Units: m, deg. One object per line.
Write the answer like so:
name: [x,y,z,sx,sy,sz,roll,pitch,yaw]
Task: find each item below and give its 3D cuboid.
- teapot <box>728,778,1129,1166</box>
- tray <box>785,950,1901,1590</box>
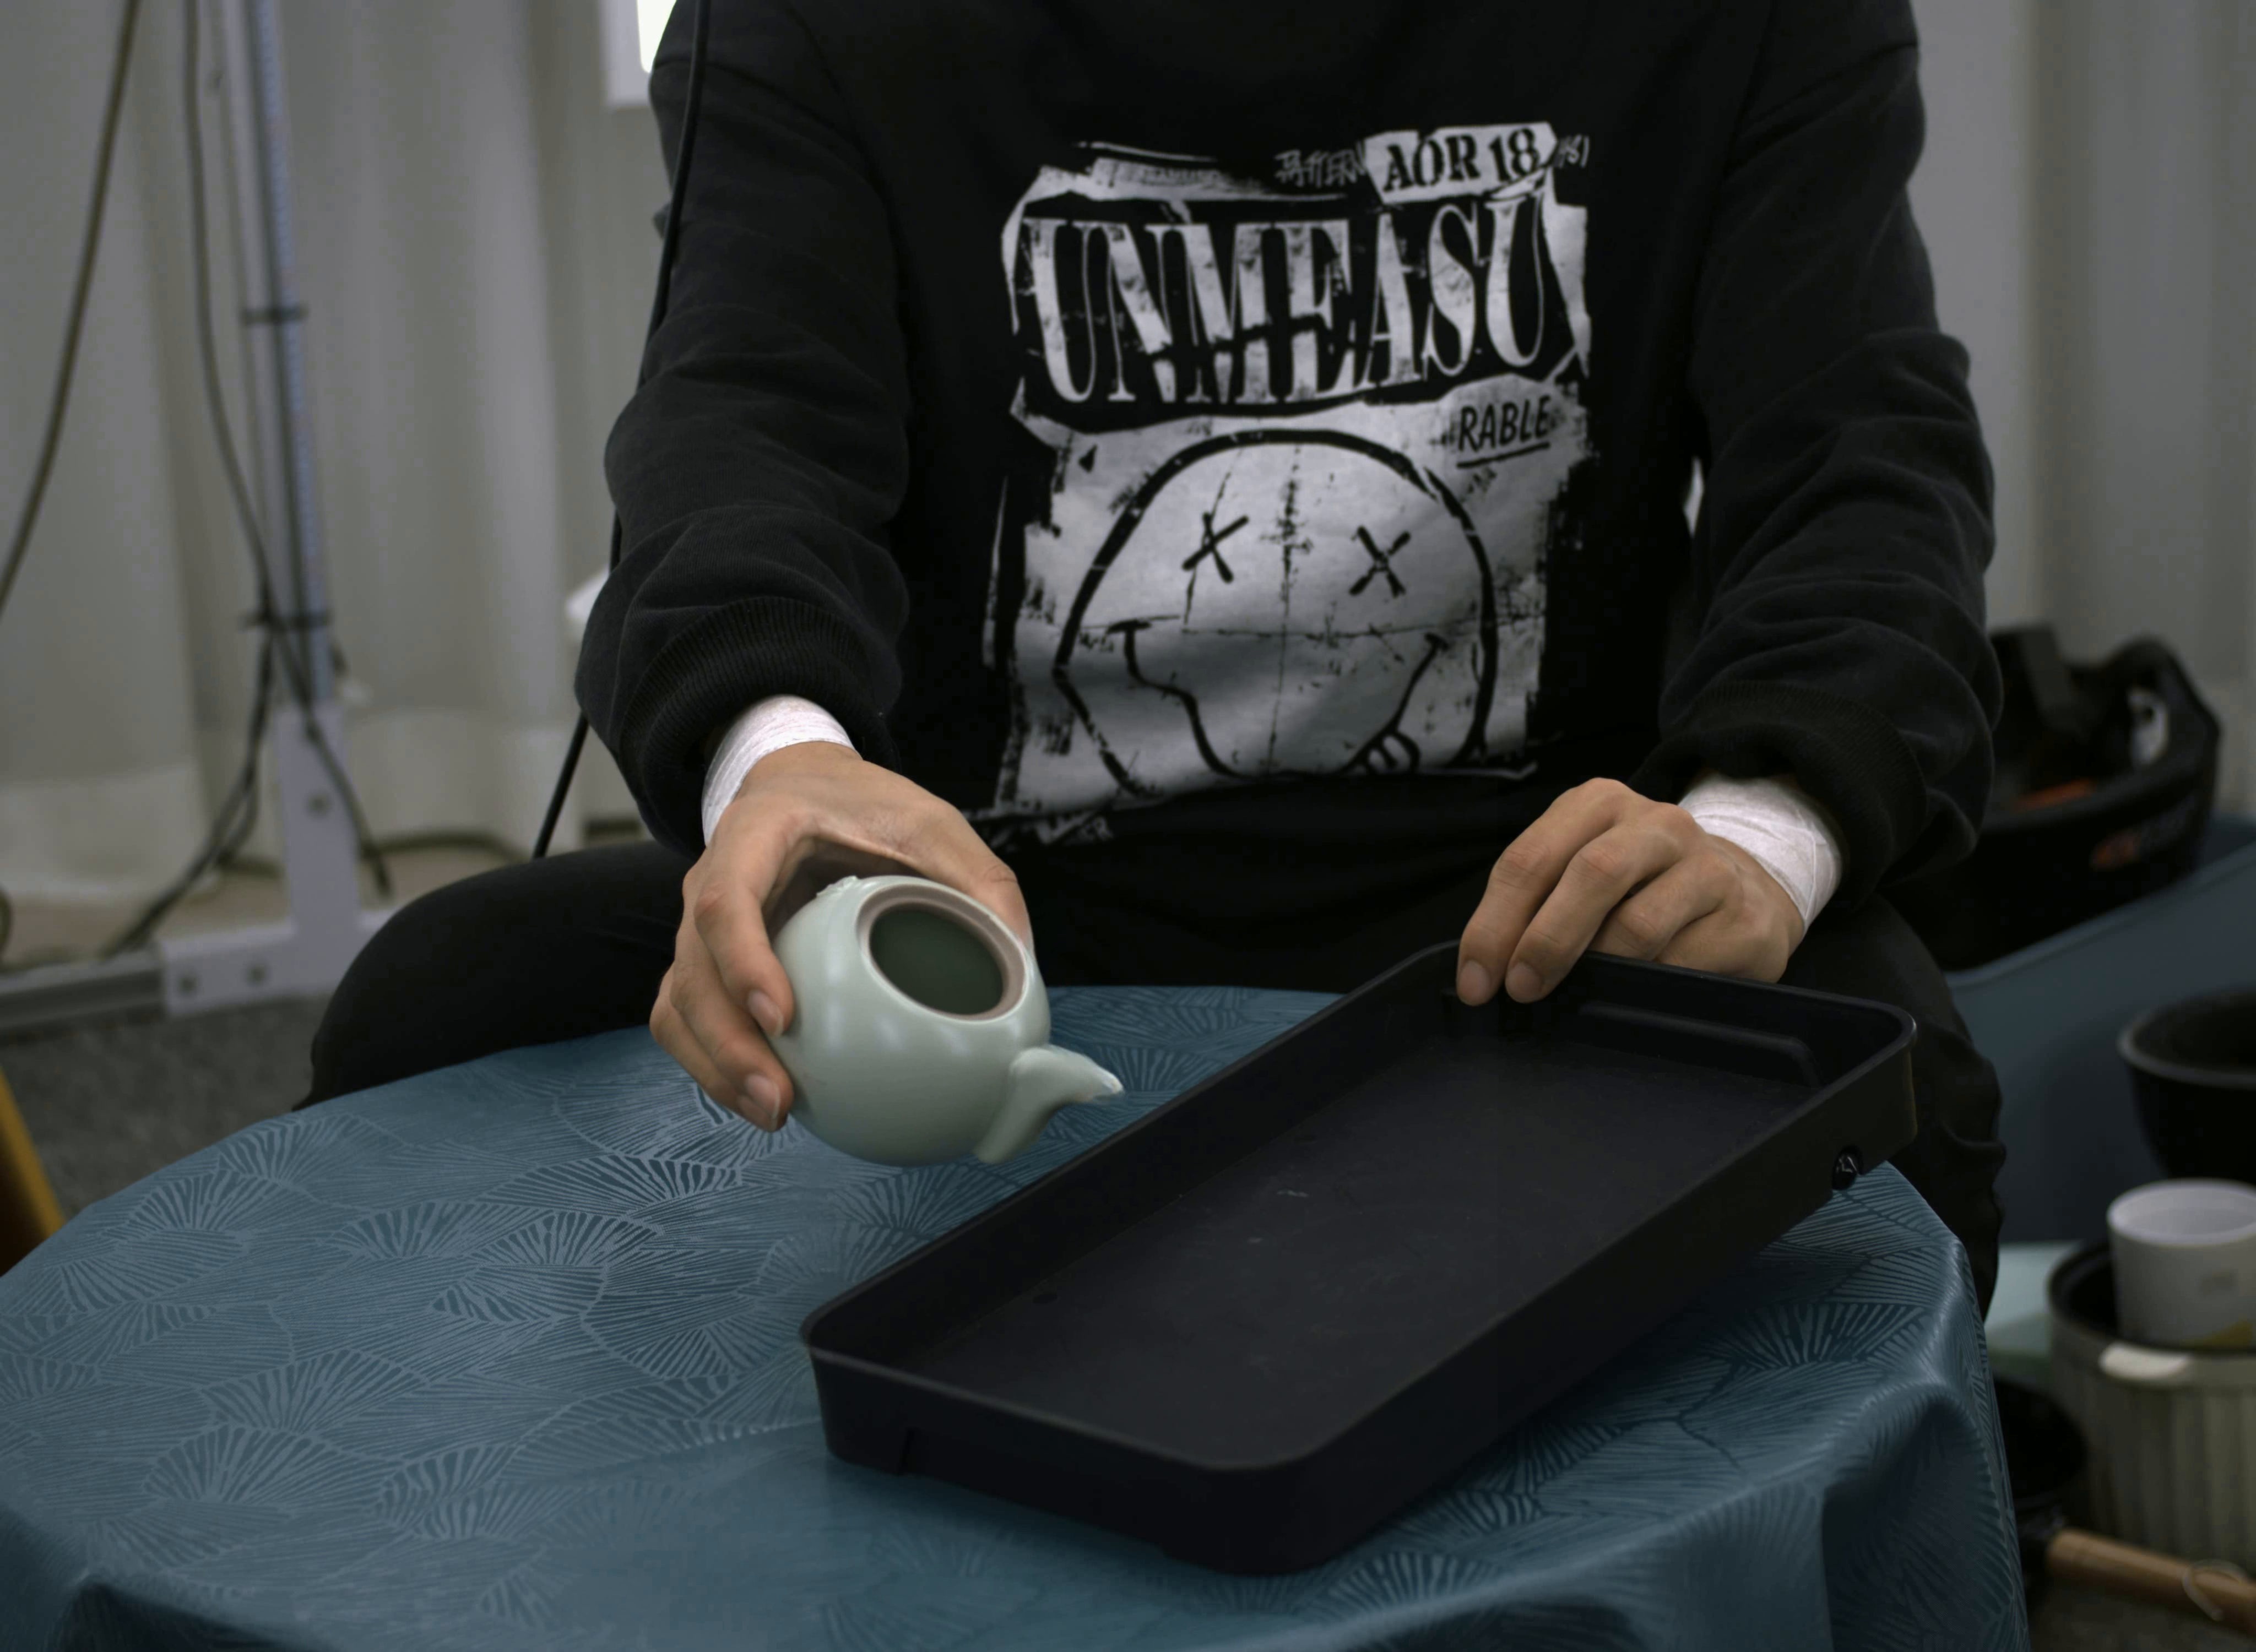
teapot: [-0.066,0.056,1.592,0.144,0.074,0.088,45,37,14]
tray: [0.068,0.118,1.553,0.185,0.037,0.318,9,26,39]
